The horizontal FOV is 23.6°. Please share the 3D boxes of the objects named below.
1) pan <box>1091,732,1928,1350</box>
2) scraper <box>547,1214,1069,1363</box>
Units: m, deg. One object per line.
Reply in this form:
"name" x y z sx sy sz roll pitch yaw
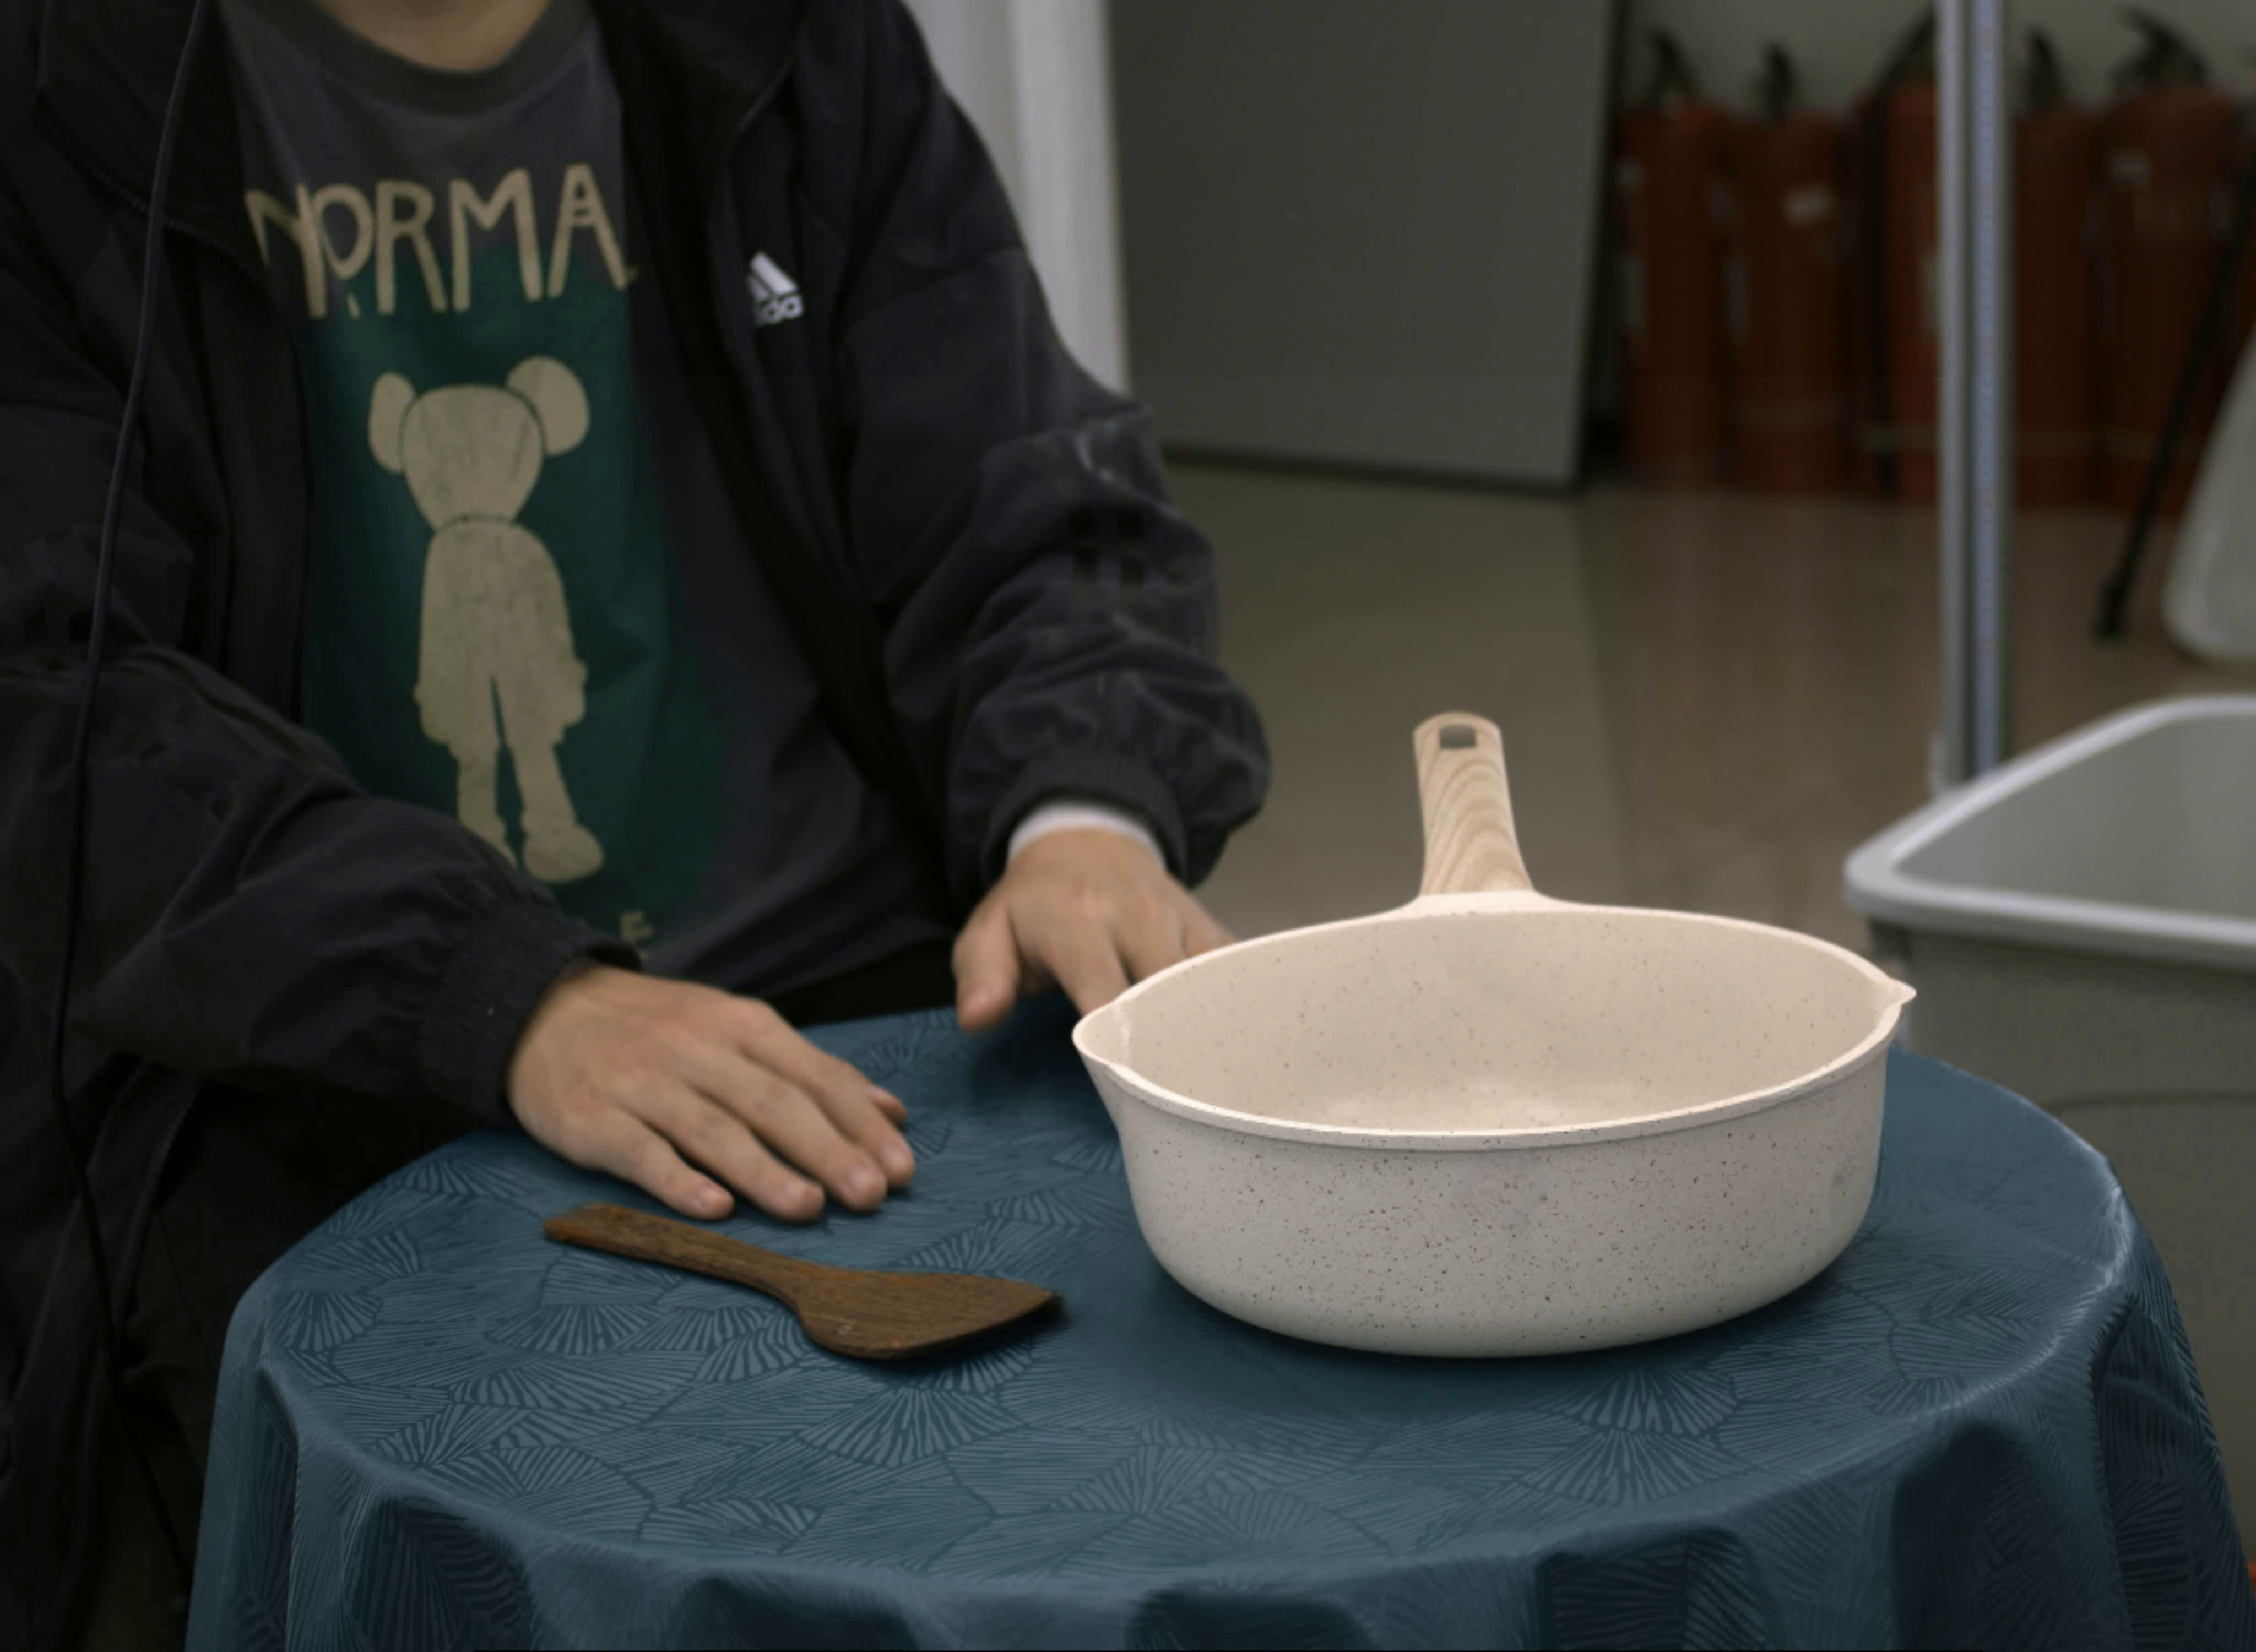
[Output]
"pan" 0.121 0.065 1.758 0.260 0.103 0.435 -5 13 2
"scraper" -0.110 0.143 1.703 0.074 0.011 0.213 -15 16 -42
